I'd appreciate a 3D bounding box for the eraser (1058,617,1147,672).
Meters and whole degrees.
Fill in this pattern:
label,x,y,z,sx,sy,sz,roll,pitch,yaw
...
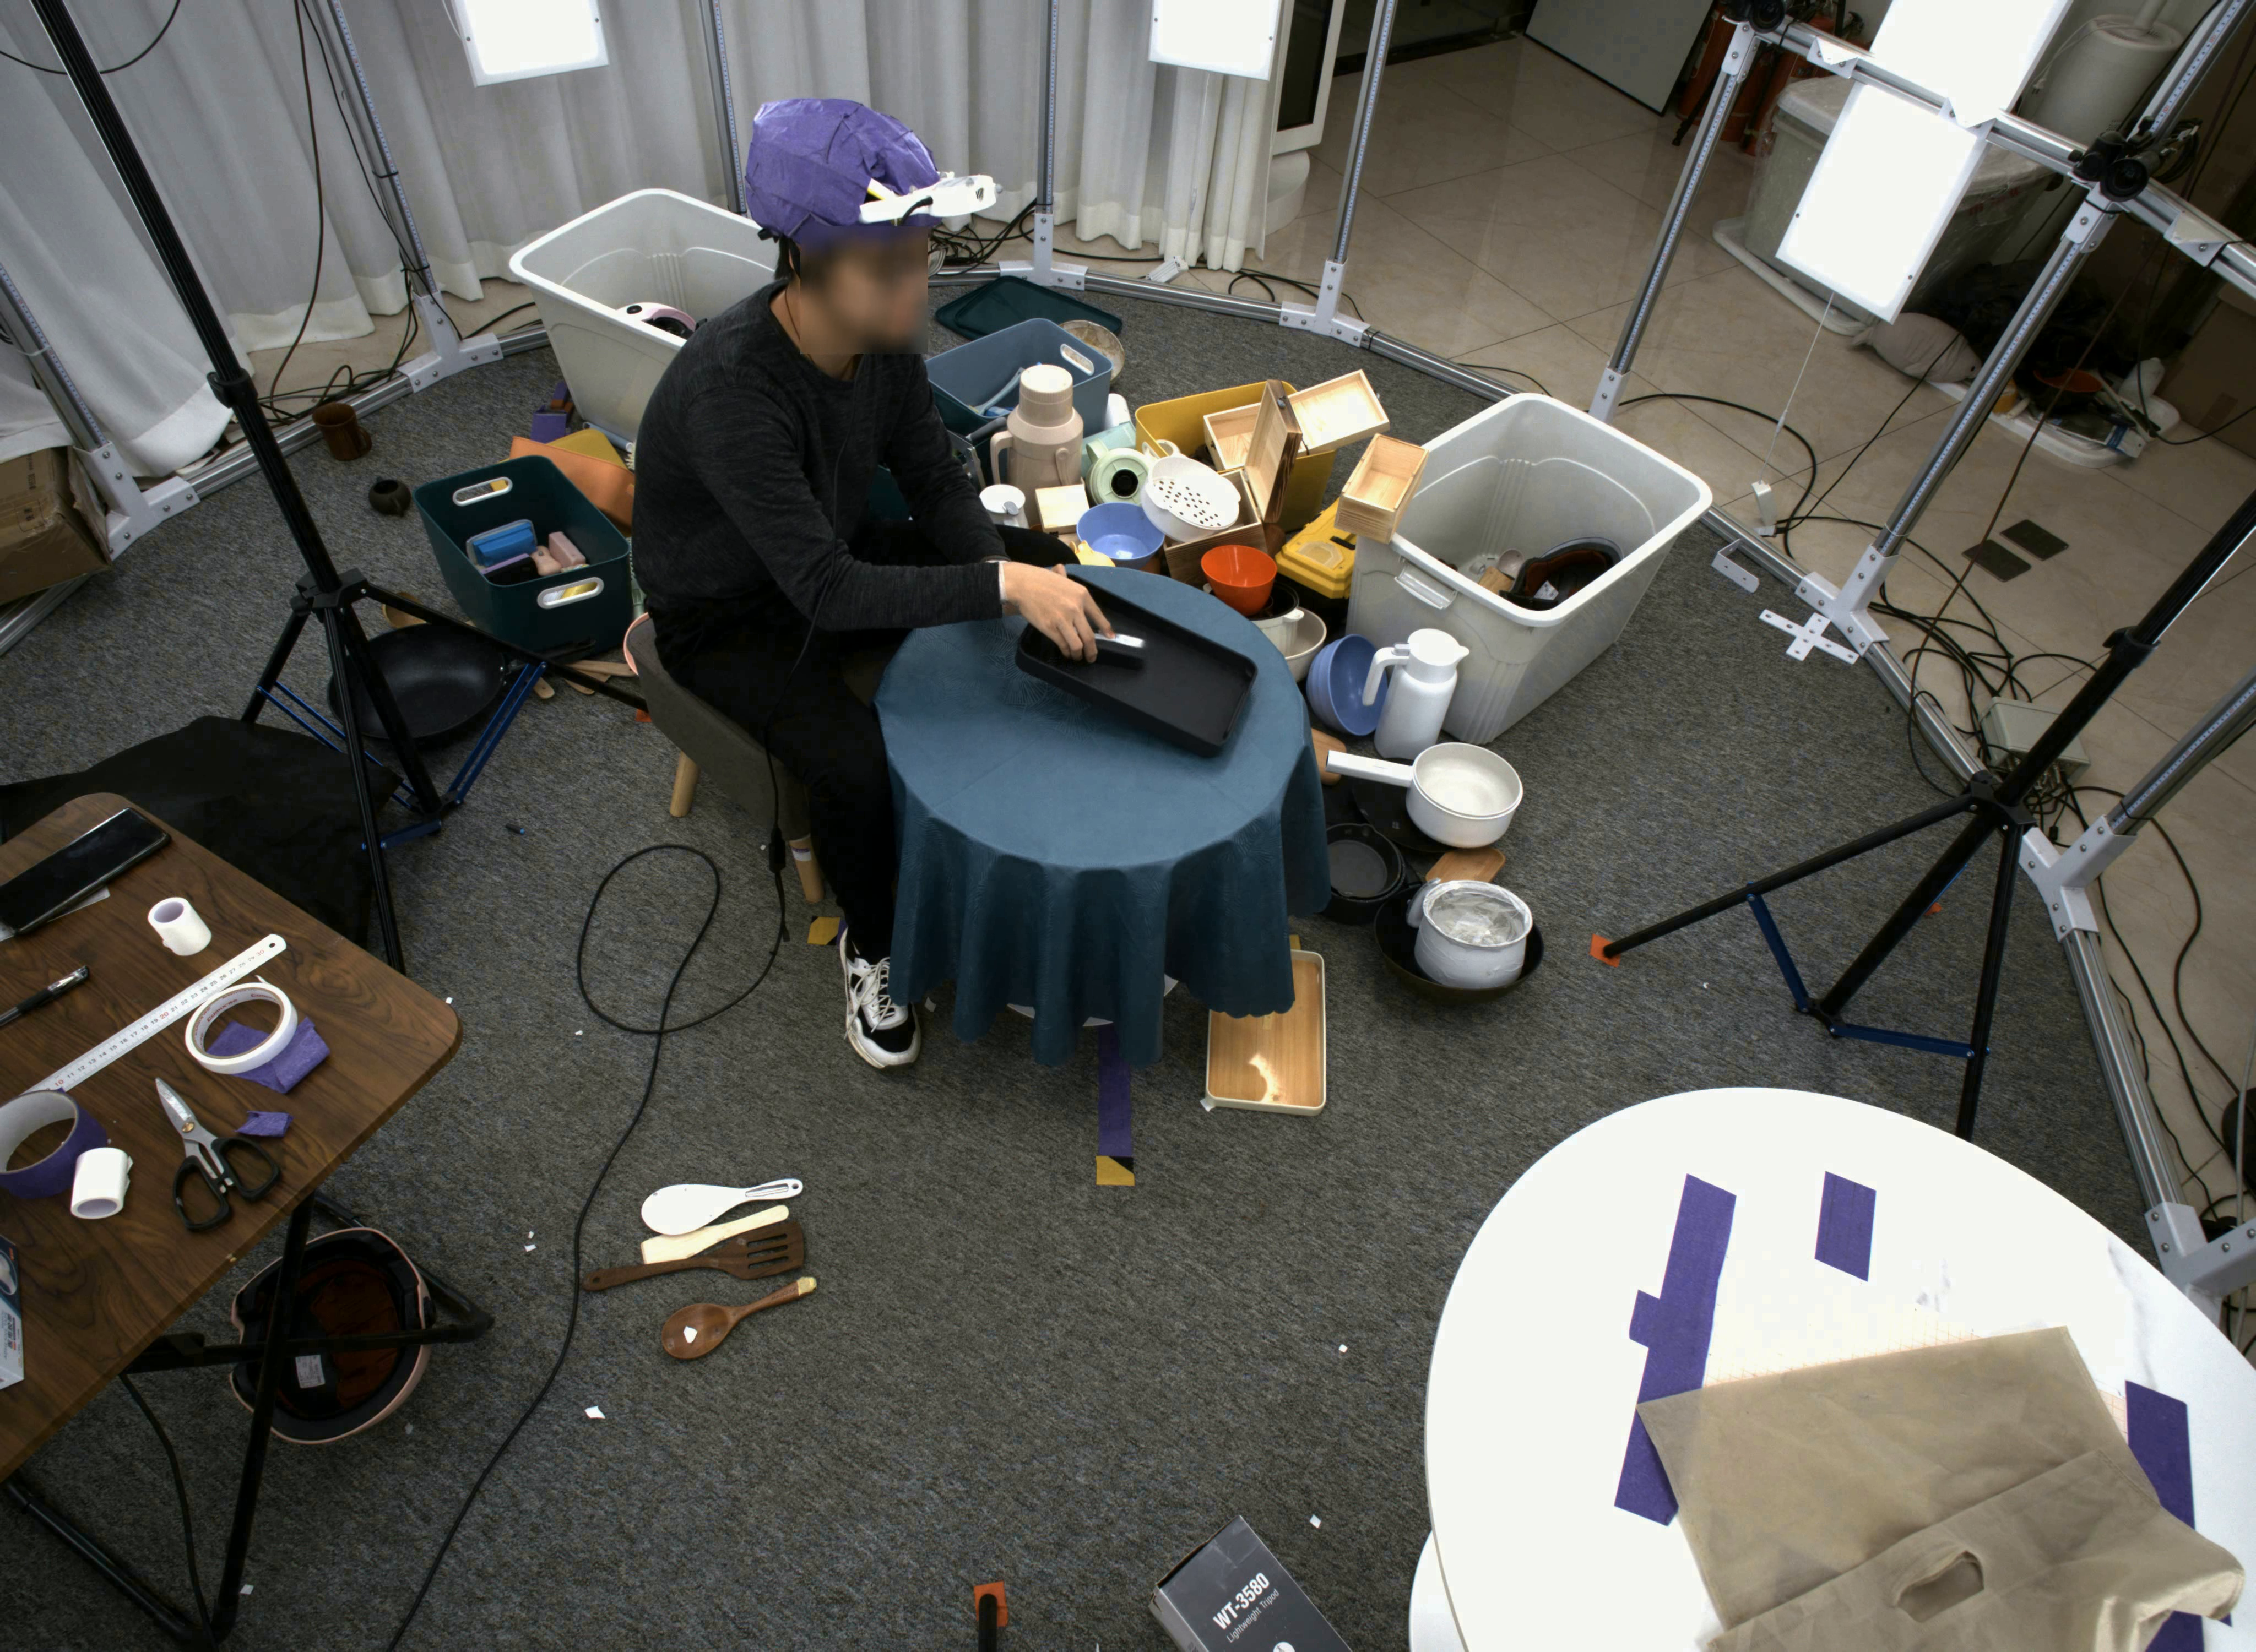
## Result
label,x,y,z,sx,sy,sz,roll,pitch,yaw
eraser,-0.036,-0.255,1.798,0.125,0.030,0.055,10,54,-15

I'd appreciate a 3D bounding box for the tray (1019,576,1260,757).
label,x,y,z,sx,sy,sz,roll,pitch,yaw
tray,0.018,-0.225,1.801,0.318,0.036,0.188,24,51,0
